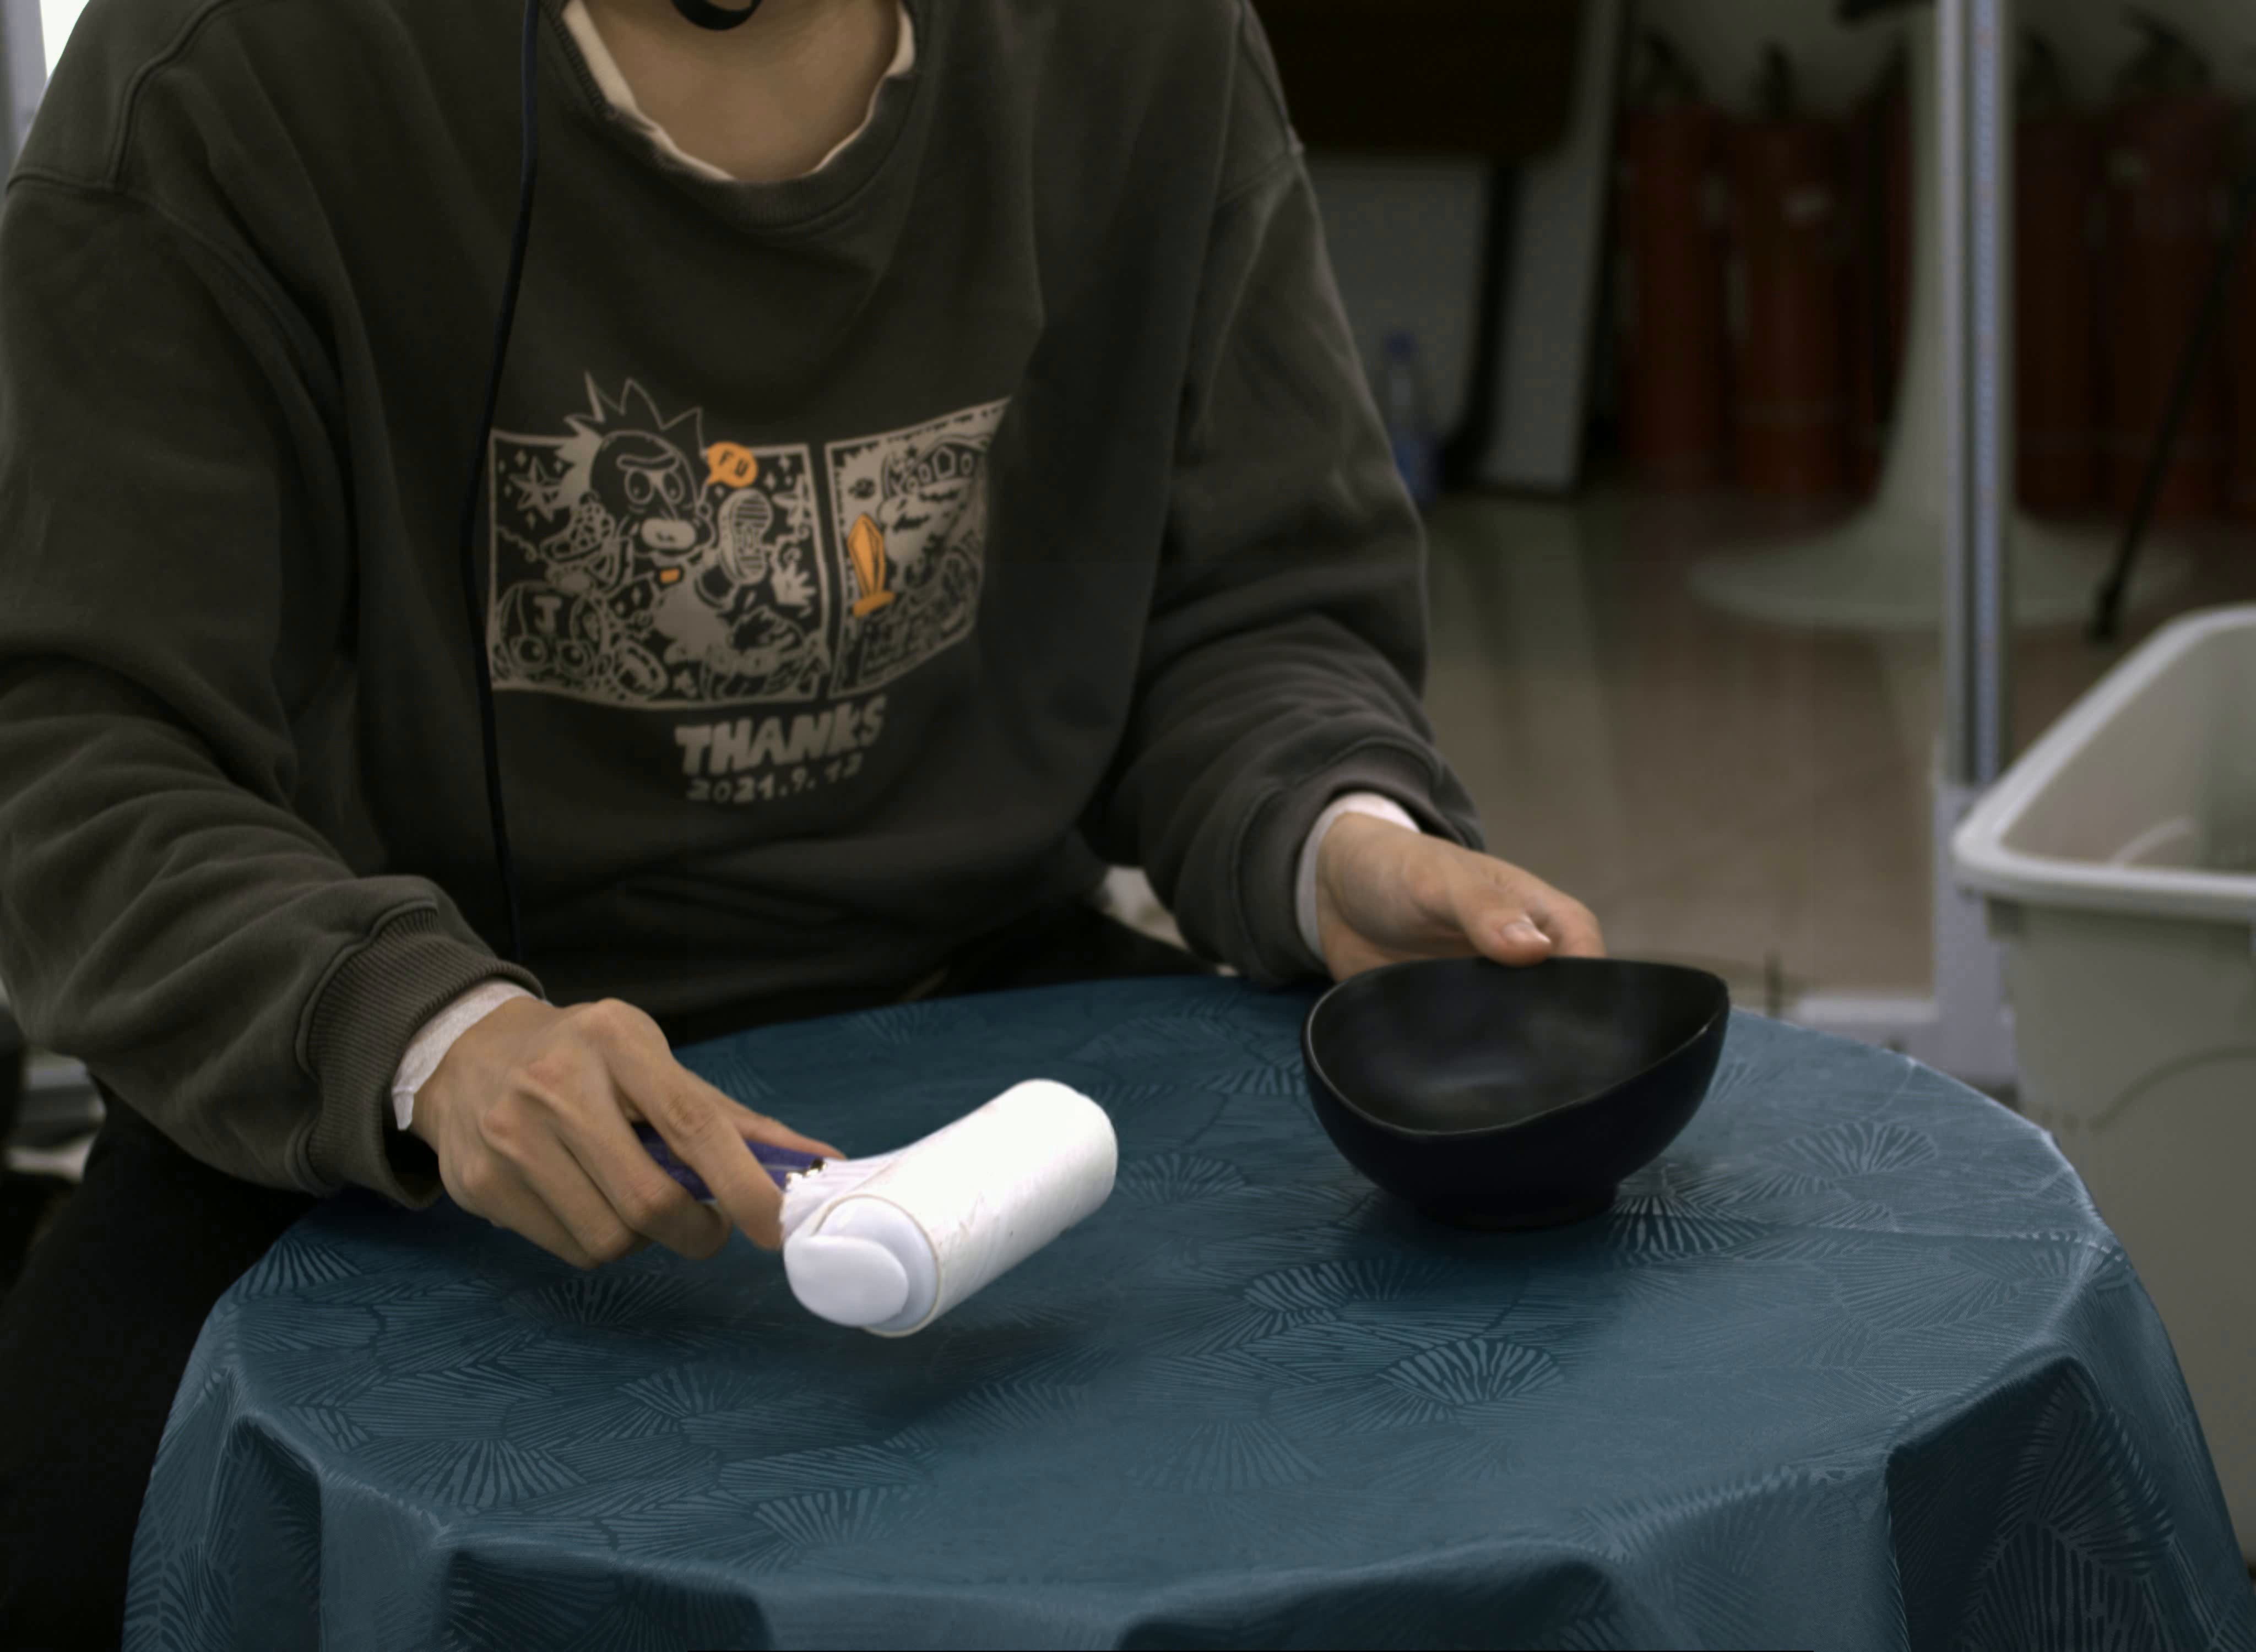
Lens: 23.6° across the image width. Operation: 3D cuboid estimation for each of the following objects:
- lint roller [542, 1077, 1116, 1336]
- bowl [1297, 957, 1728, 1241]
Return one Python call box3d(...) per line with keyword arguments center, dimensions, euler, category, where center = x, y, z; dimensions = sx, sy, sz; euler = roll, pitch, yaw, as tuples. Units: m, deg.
box3d(center=(-0.102, 0.098, 1.638), dimensions=(0.182, 0.051, 0.131), euler=(15, 25, 31), category="lint roller")
box3d(center=(0.125, 0.092, 1.730), dimensions=(0.137, 0.067, 0.168), euler=(0, 16, 21), category="bowl")
